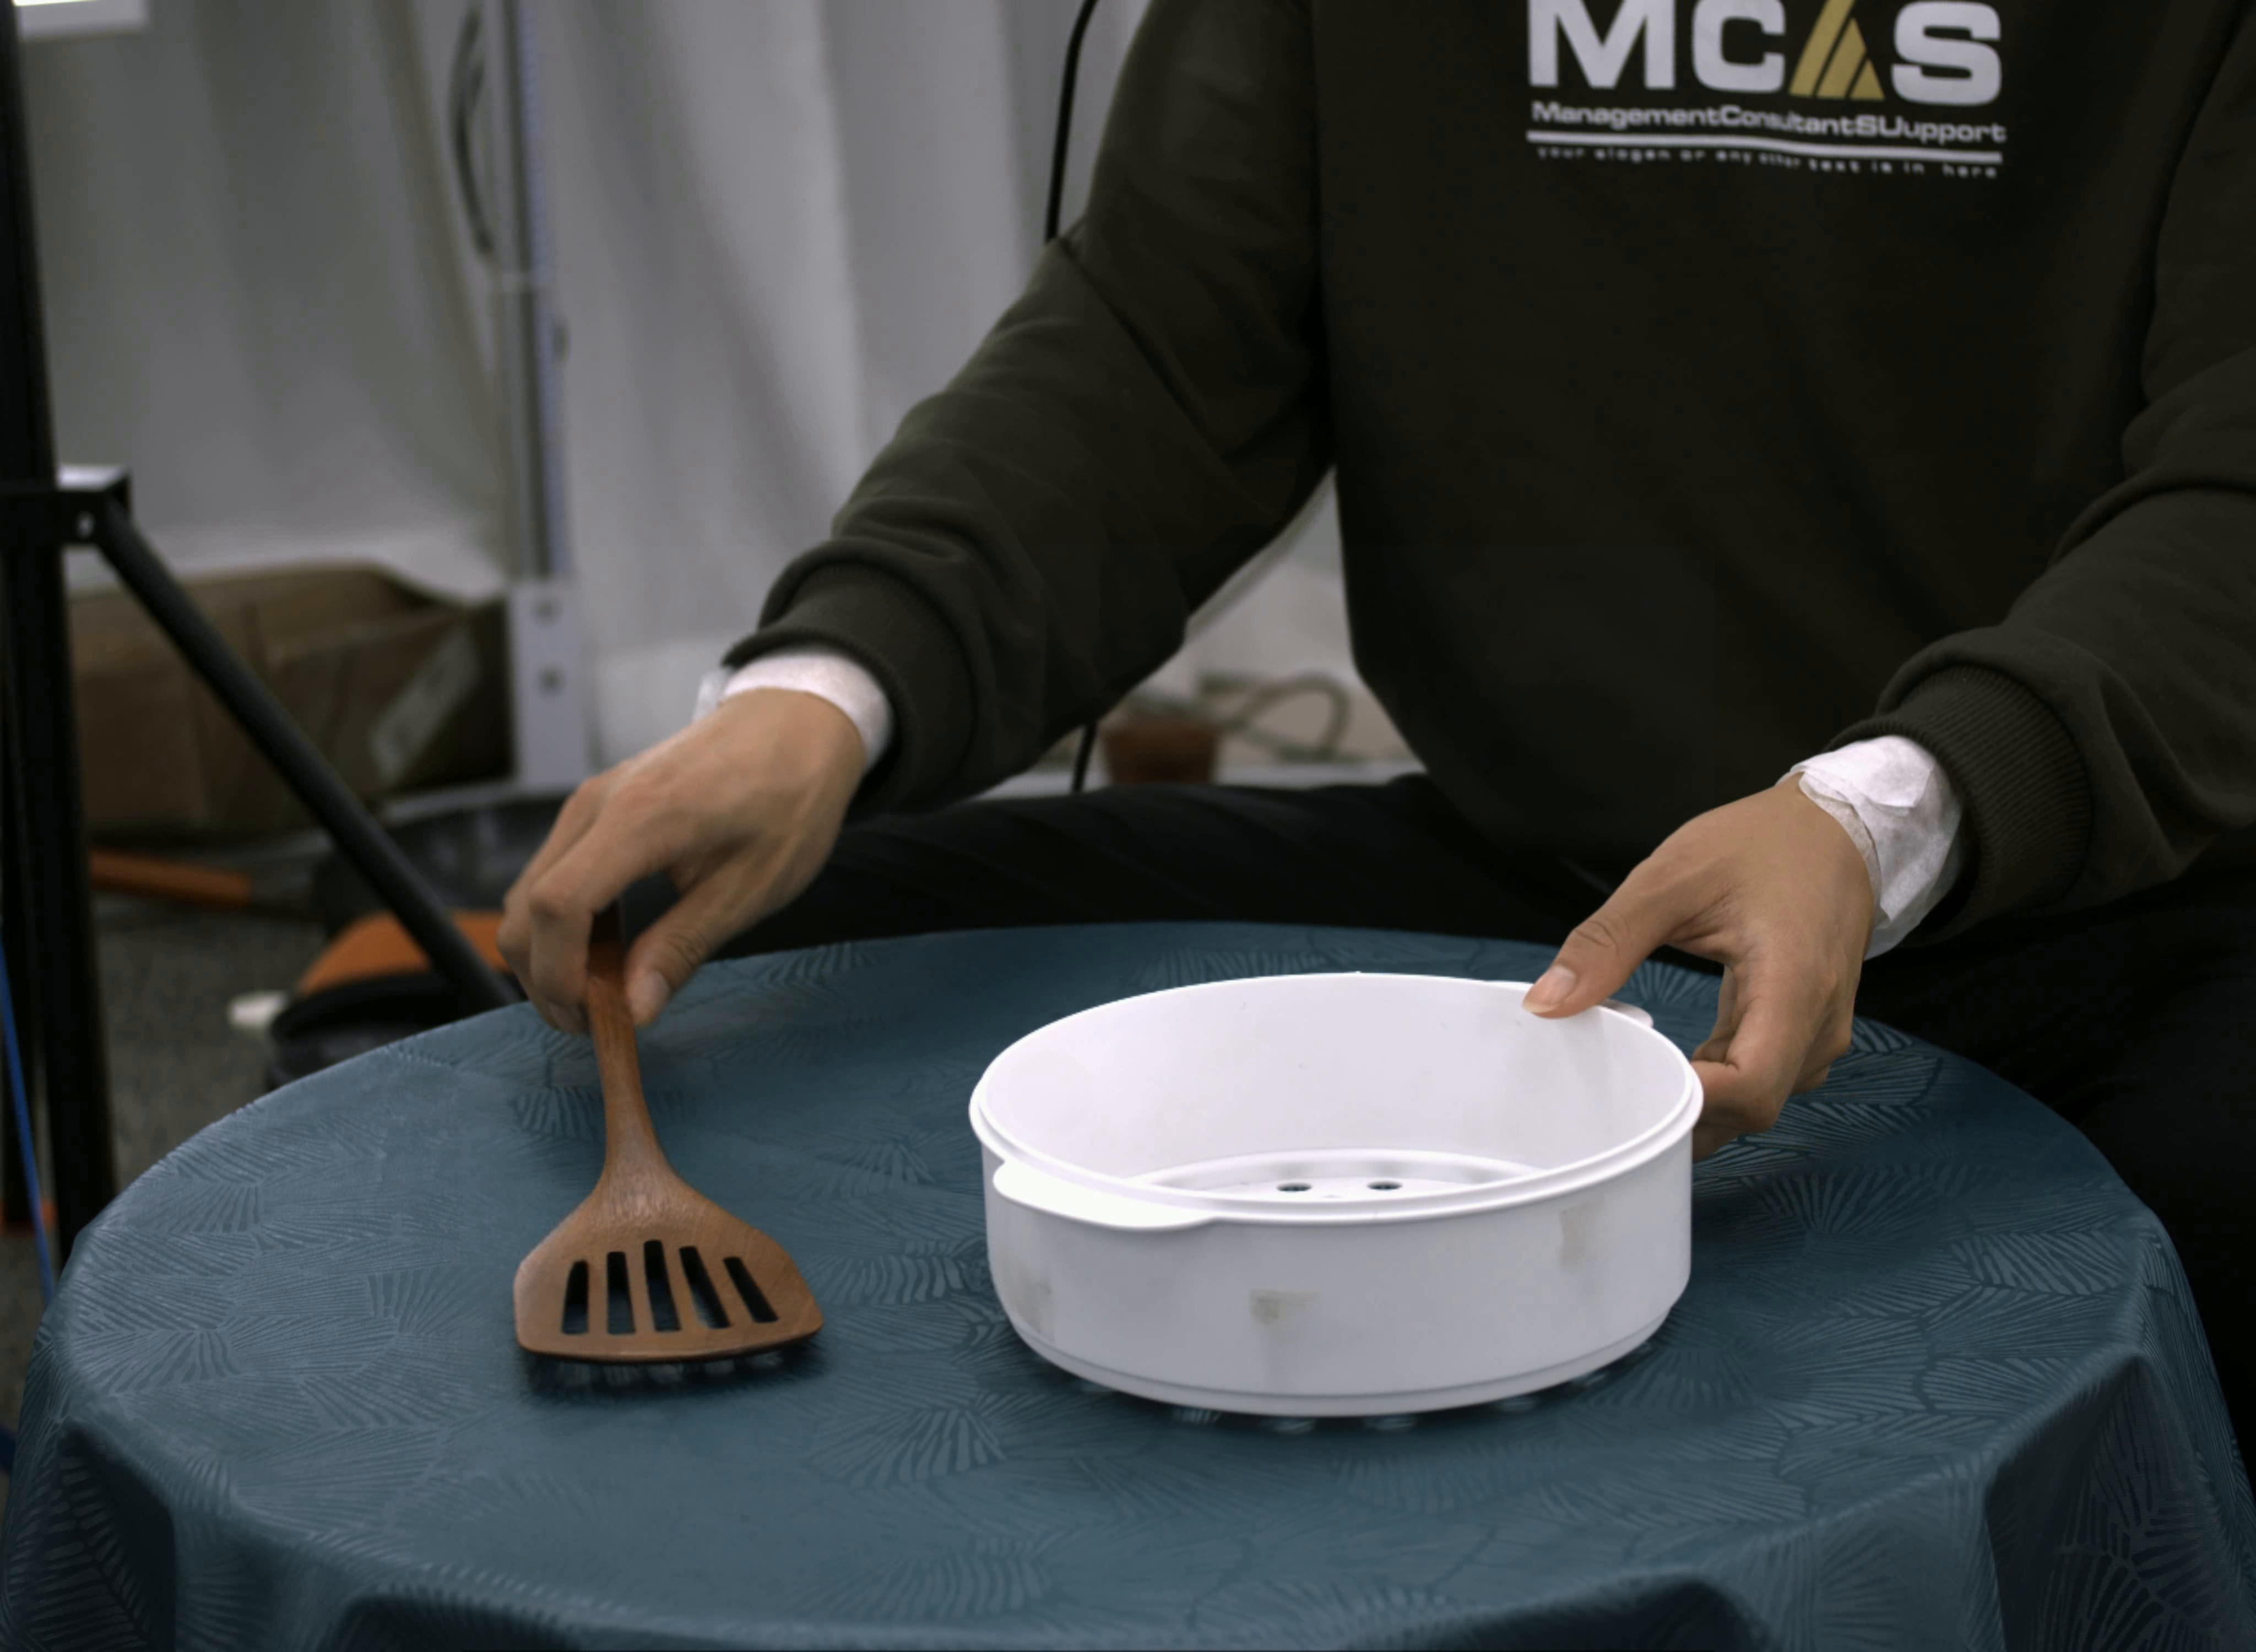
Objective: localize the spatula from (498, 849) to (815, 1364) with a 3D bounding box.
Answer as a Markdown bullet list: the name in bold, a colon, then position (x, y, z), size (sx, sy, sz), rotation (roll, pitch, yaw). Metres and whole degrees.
- **spatula**: position (-0.152, 0.081, 1.602), size (0.085, 0.023, 0.390), rotation (-4, 21, -8)

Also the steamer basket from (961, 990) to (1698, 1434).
- **steamer basket**: position (0.054, 0.105, 1.450), size (0.206, 0.069, 0.225), rotation (14, 19, 40)
